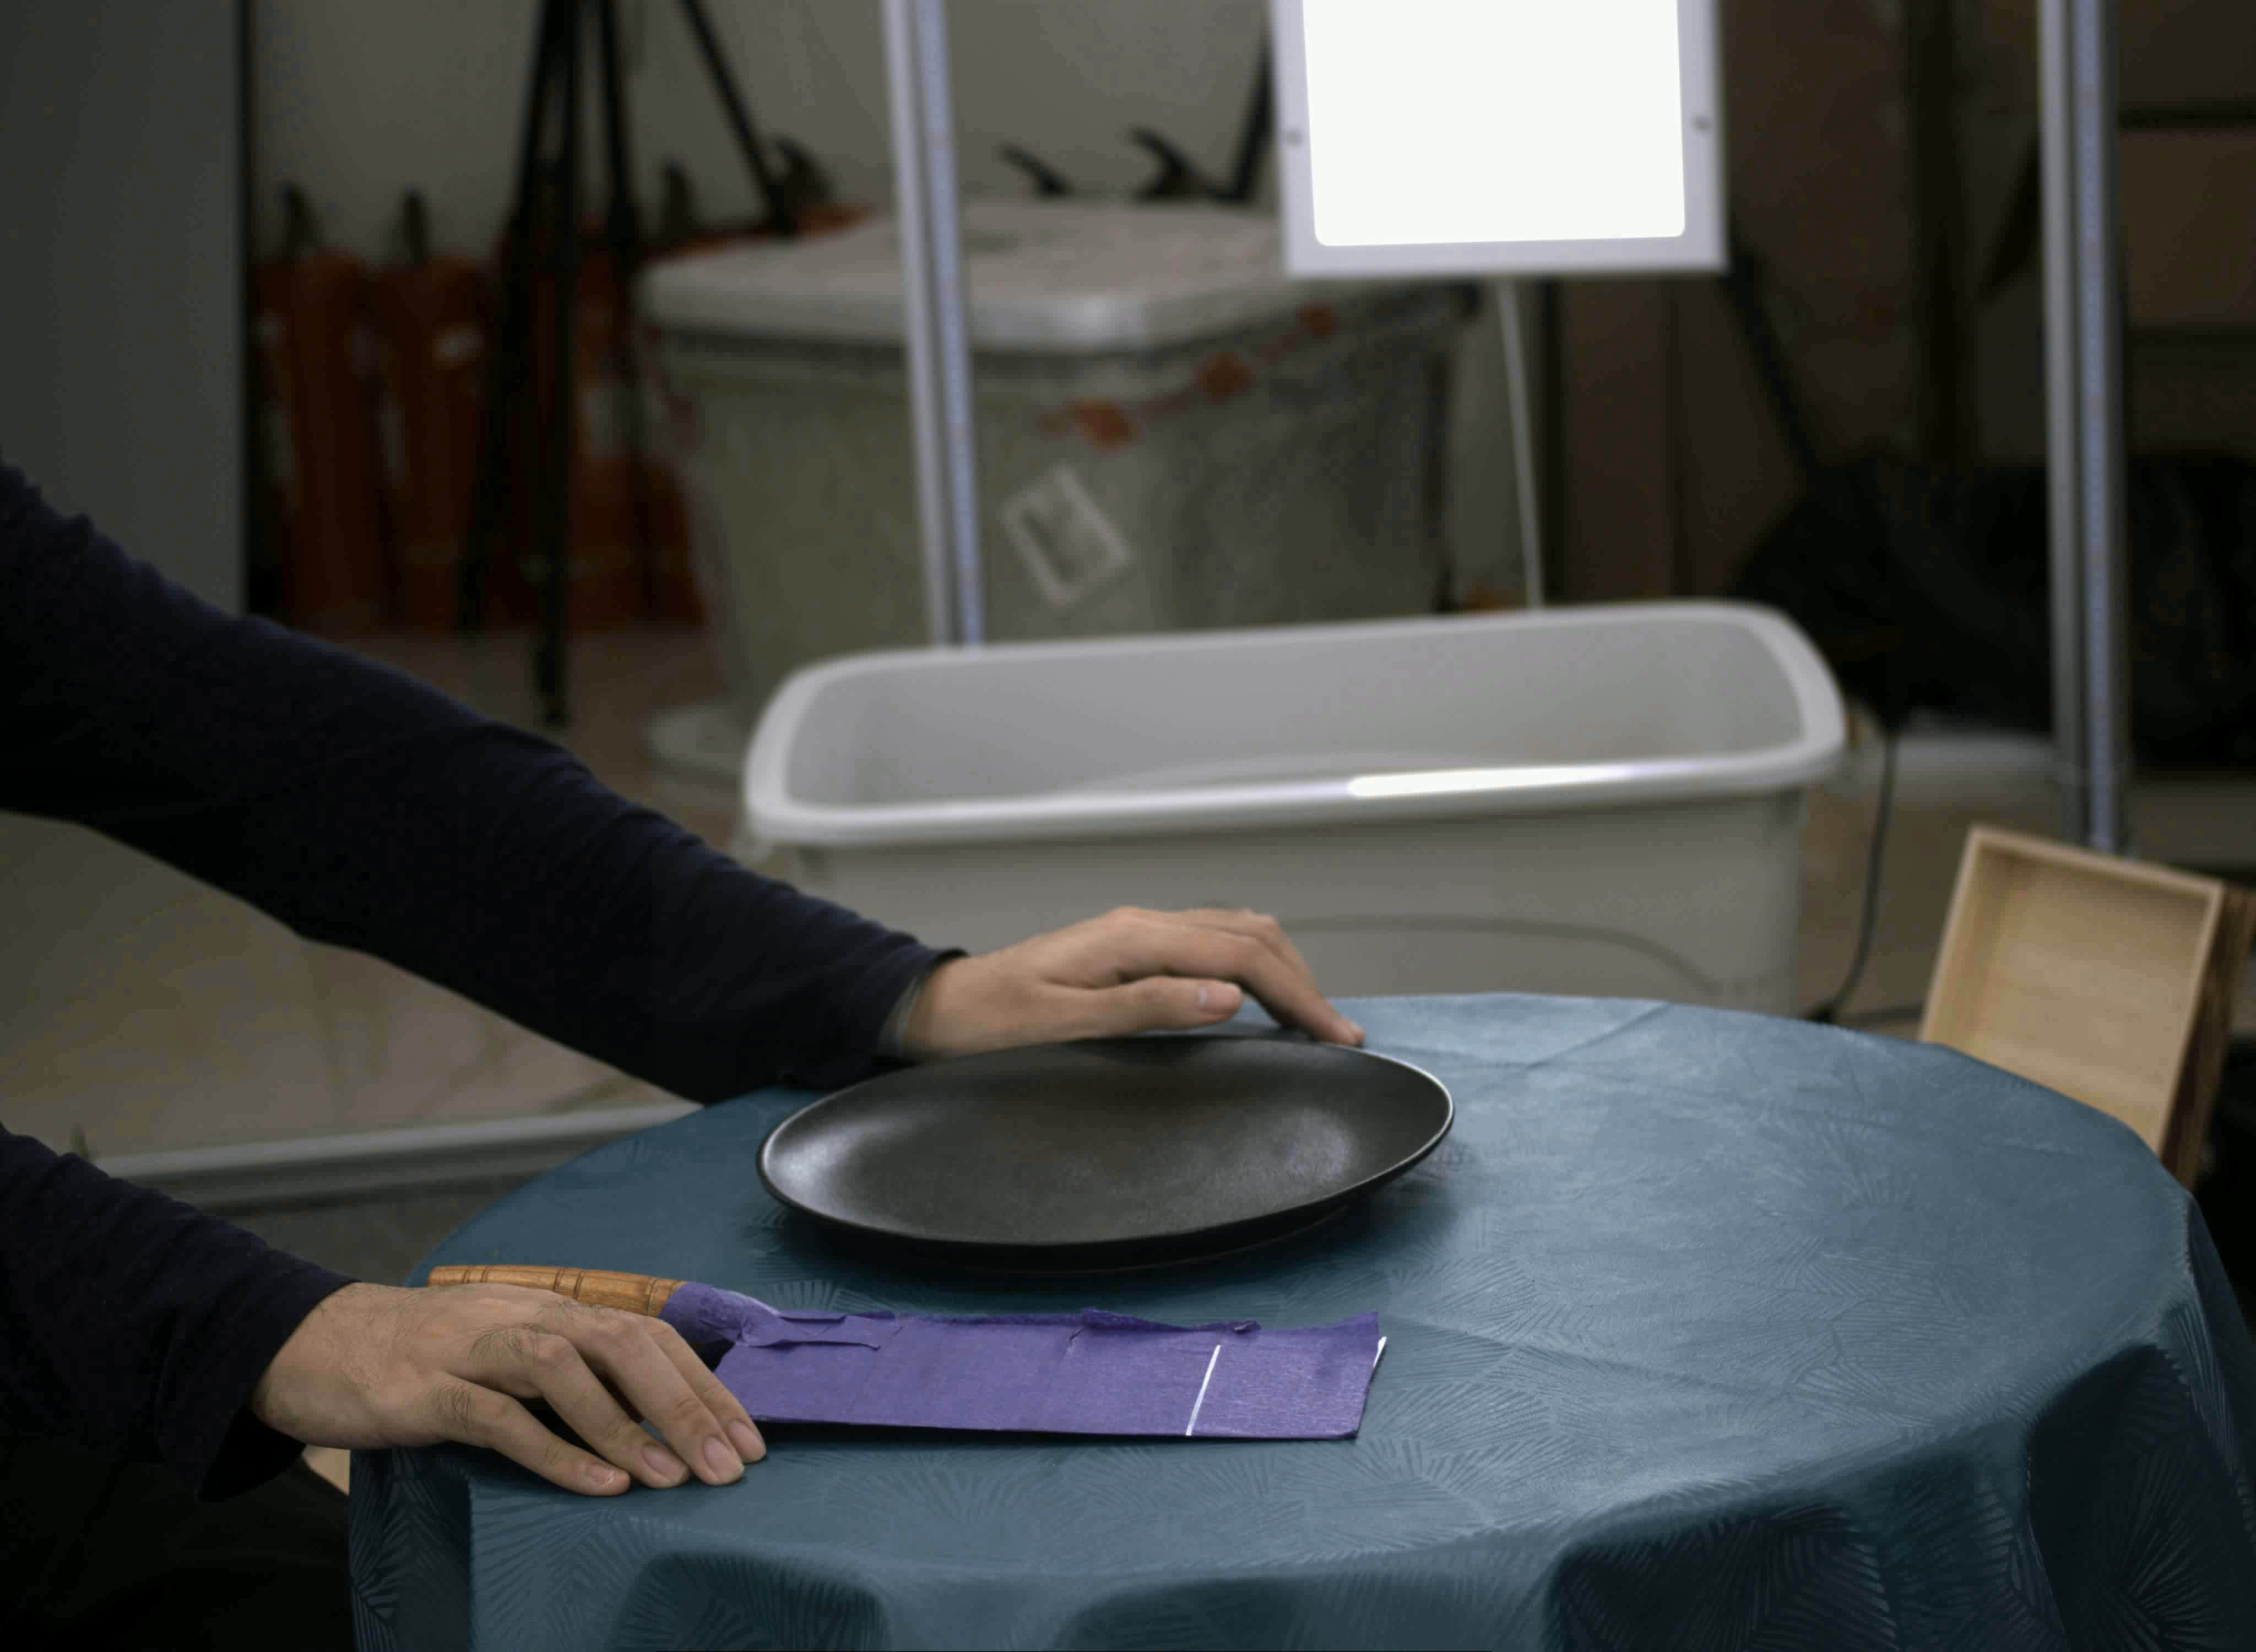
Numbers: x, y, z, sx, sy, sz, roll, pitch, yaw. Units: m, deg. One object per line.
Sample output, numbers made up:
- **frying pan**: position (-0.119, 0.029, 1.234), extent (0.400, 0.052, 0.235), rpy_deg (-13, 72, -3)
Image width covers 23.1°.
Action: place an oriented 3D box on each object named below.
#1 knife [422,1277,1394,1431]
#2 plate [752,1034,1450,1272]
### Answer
- **knife**: position (-0.076, 0.165, 1.720), extent (0.317, 0.032, 0.102), rpy_deg (-2, 14, 13)
- **plate**: position (-0.009, 0.115, 1.905), extent (0.244, 0.023, 0.244), rpy_deg (-5, 13, 0)
